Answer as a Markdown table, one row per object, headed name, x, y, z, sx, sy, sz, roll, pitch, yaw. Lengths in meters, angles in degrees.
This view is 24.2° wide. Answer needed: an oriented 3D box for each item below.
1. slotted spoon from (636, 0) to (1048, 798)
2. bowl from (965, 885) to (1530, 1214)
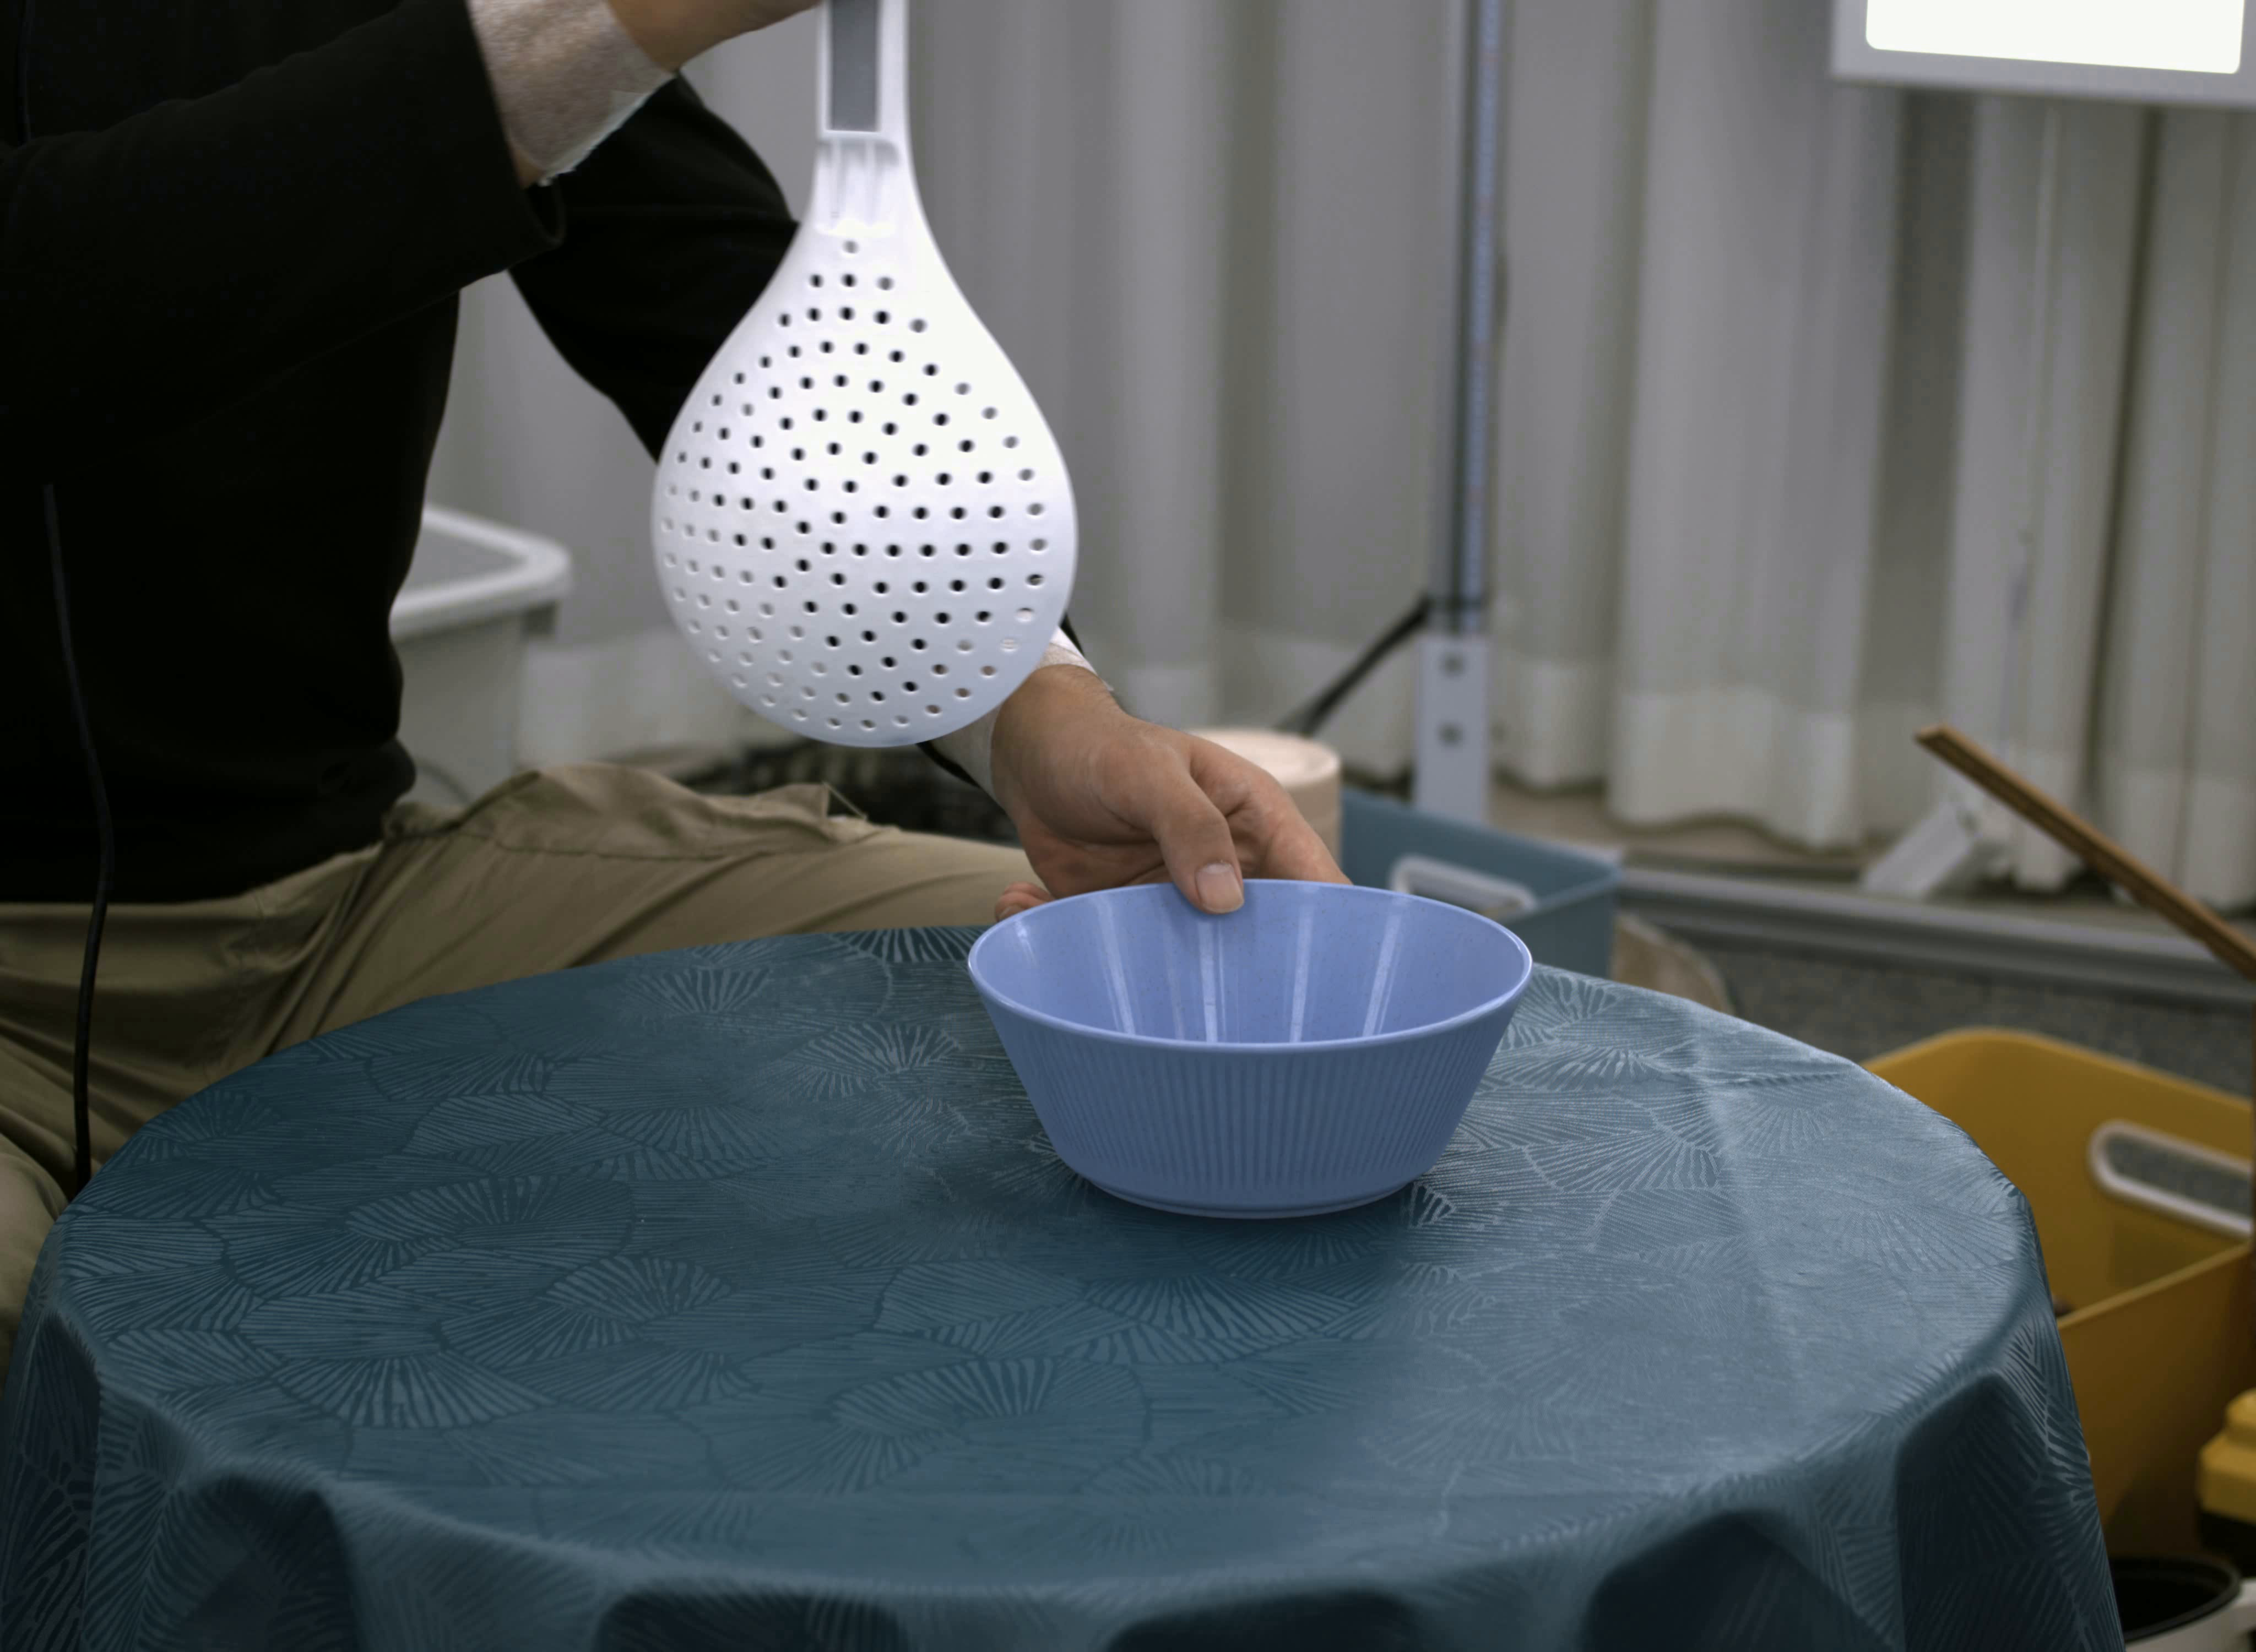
| name | x | y | z | sx | sy | sz | roll | pitch | yaw |
| --- | --- | --- | --- | --- | --- | --- | --- | --- | --- |
| slotted spoon | -0.093 | -0.182 | 1.563 | 0.135 | 0.351 | 0.046 | 2 | 6 | 20 |
| bowl | 0.037 | 0.071 | 1.639 | 0.175 | 0.071 | 0.175 | 0 | 15 | 1 |
